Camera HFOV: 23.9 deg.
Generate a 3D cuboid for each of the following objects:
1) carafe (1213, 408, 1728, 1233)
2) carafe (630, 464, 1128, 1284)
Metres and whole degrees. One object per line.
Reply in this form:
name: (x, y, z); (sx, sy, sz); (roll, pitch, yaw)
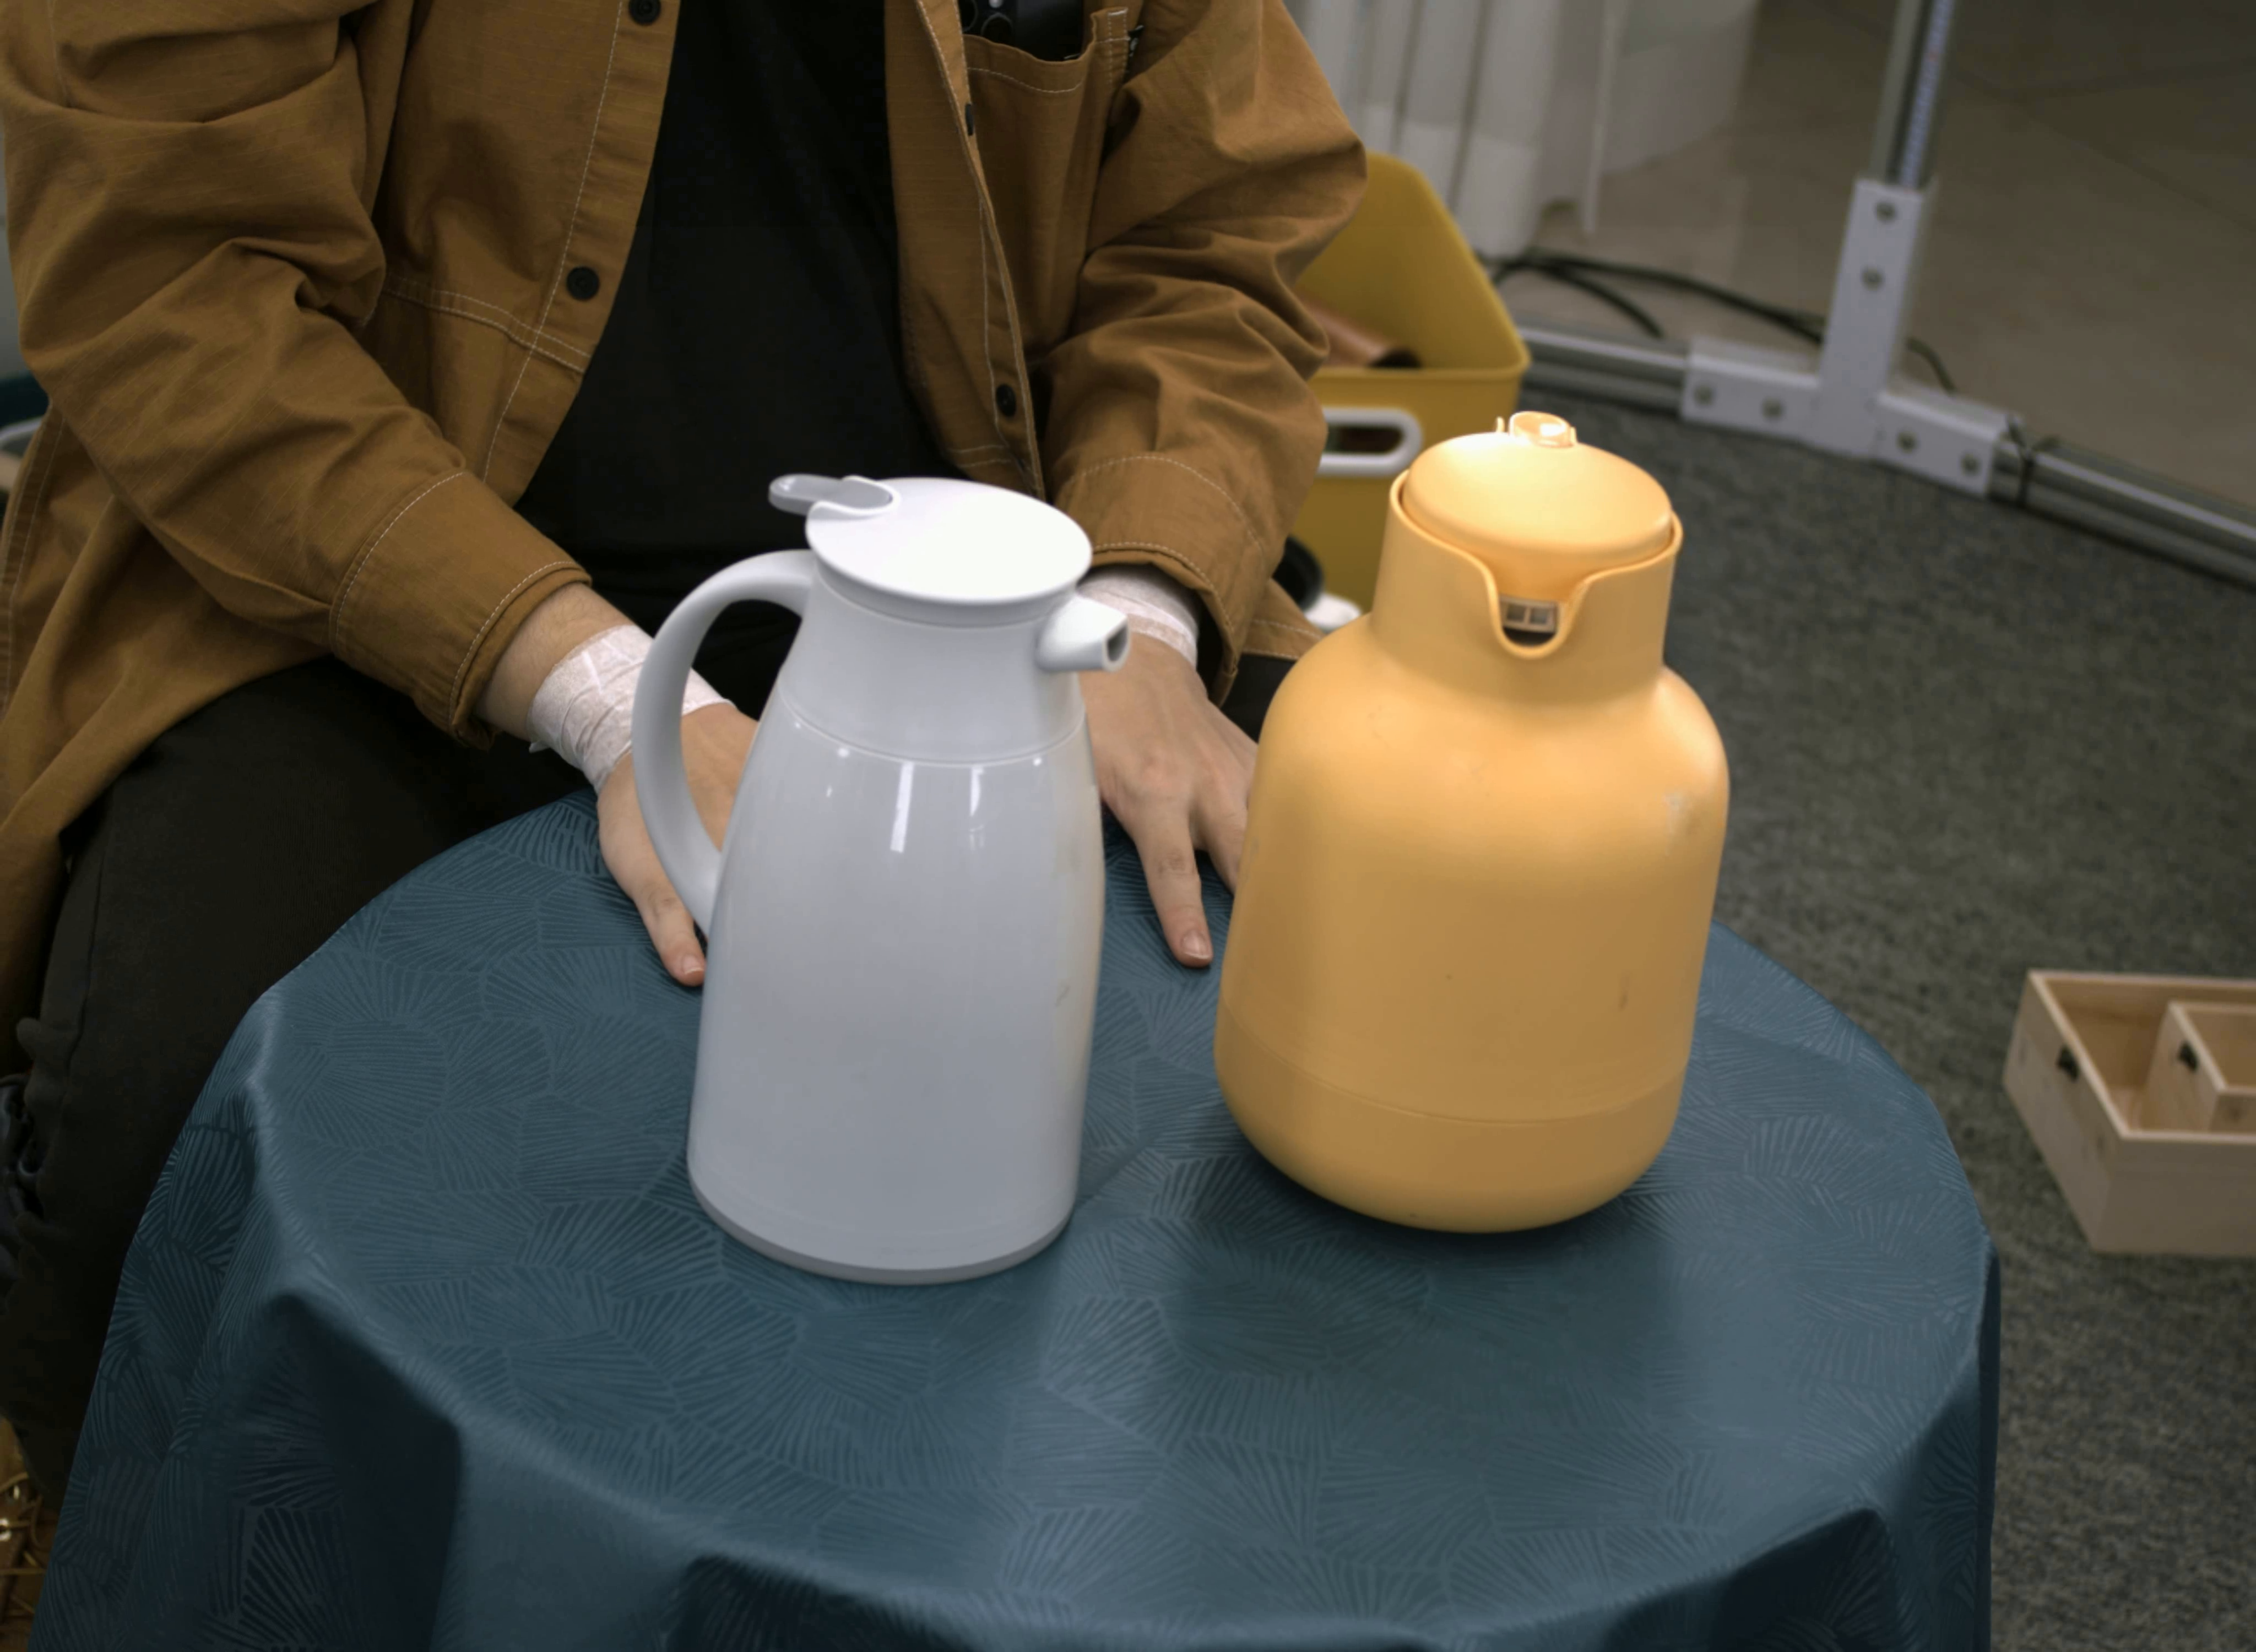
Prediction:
carafe: (0.124, -0.011, 1.813); (0.163, 0.259, 0.203); (10, 28, 3)
carafe: (-0.088, 0.006, 1.744); (0.168, 0.248, 0.132); (16, 28, 19)
